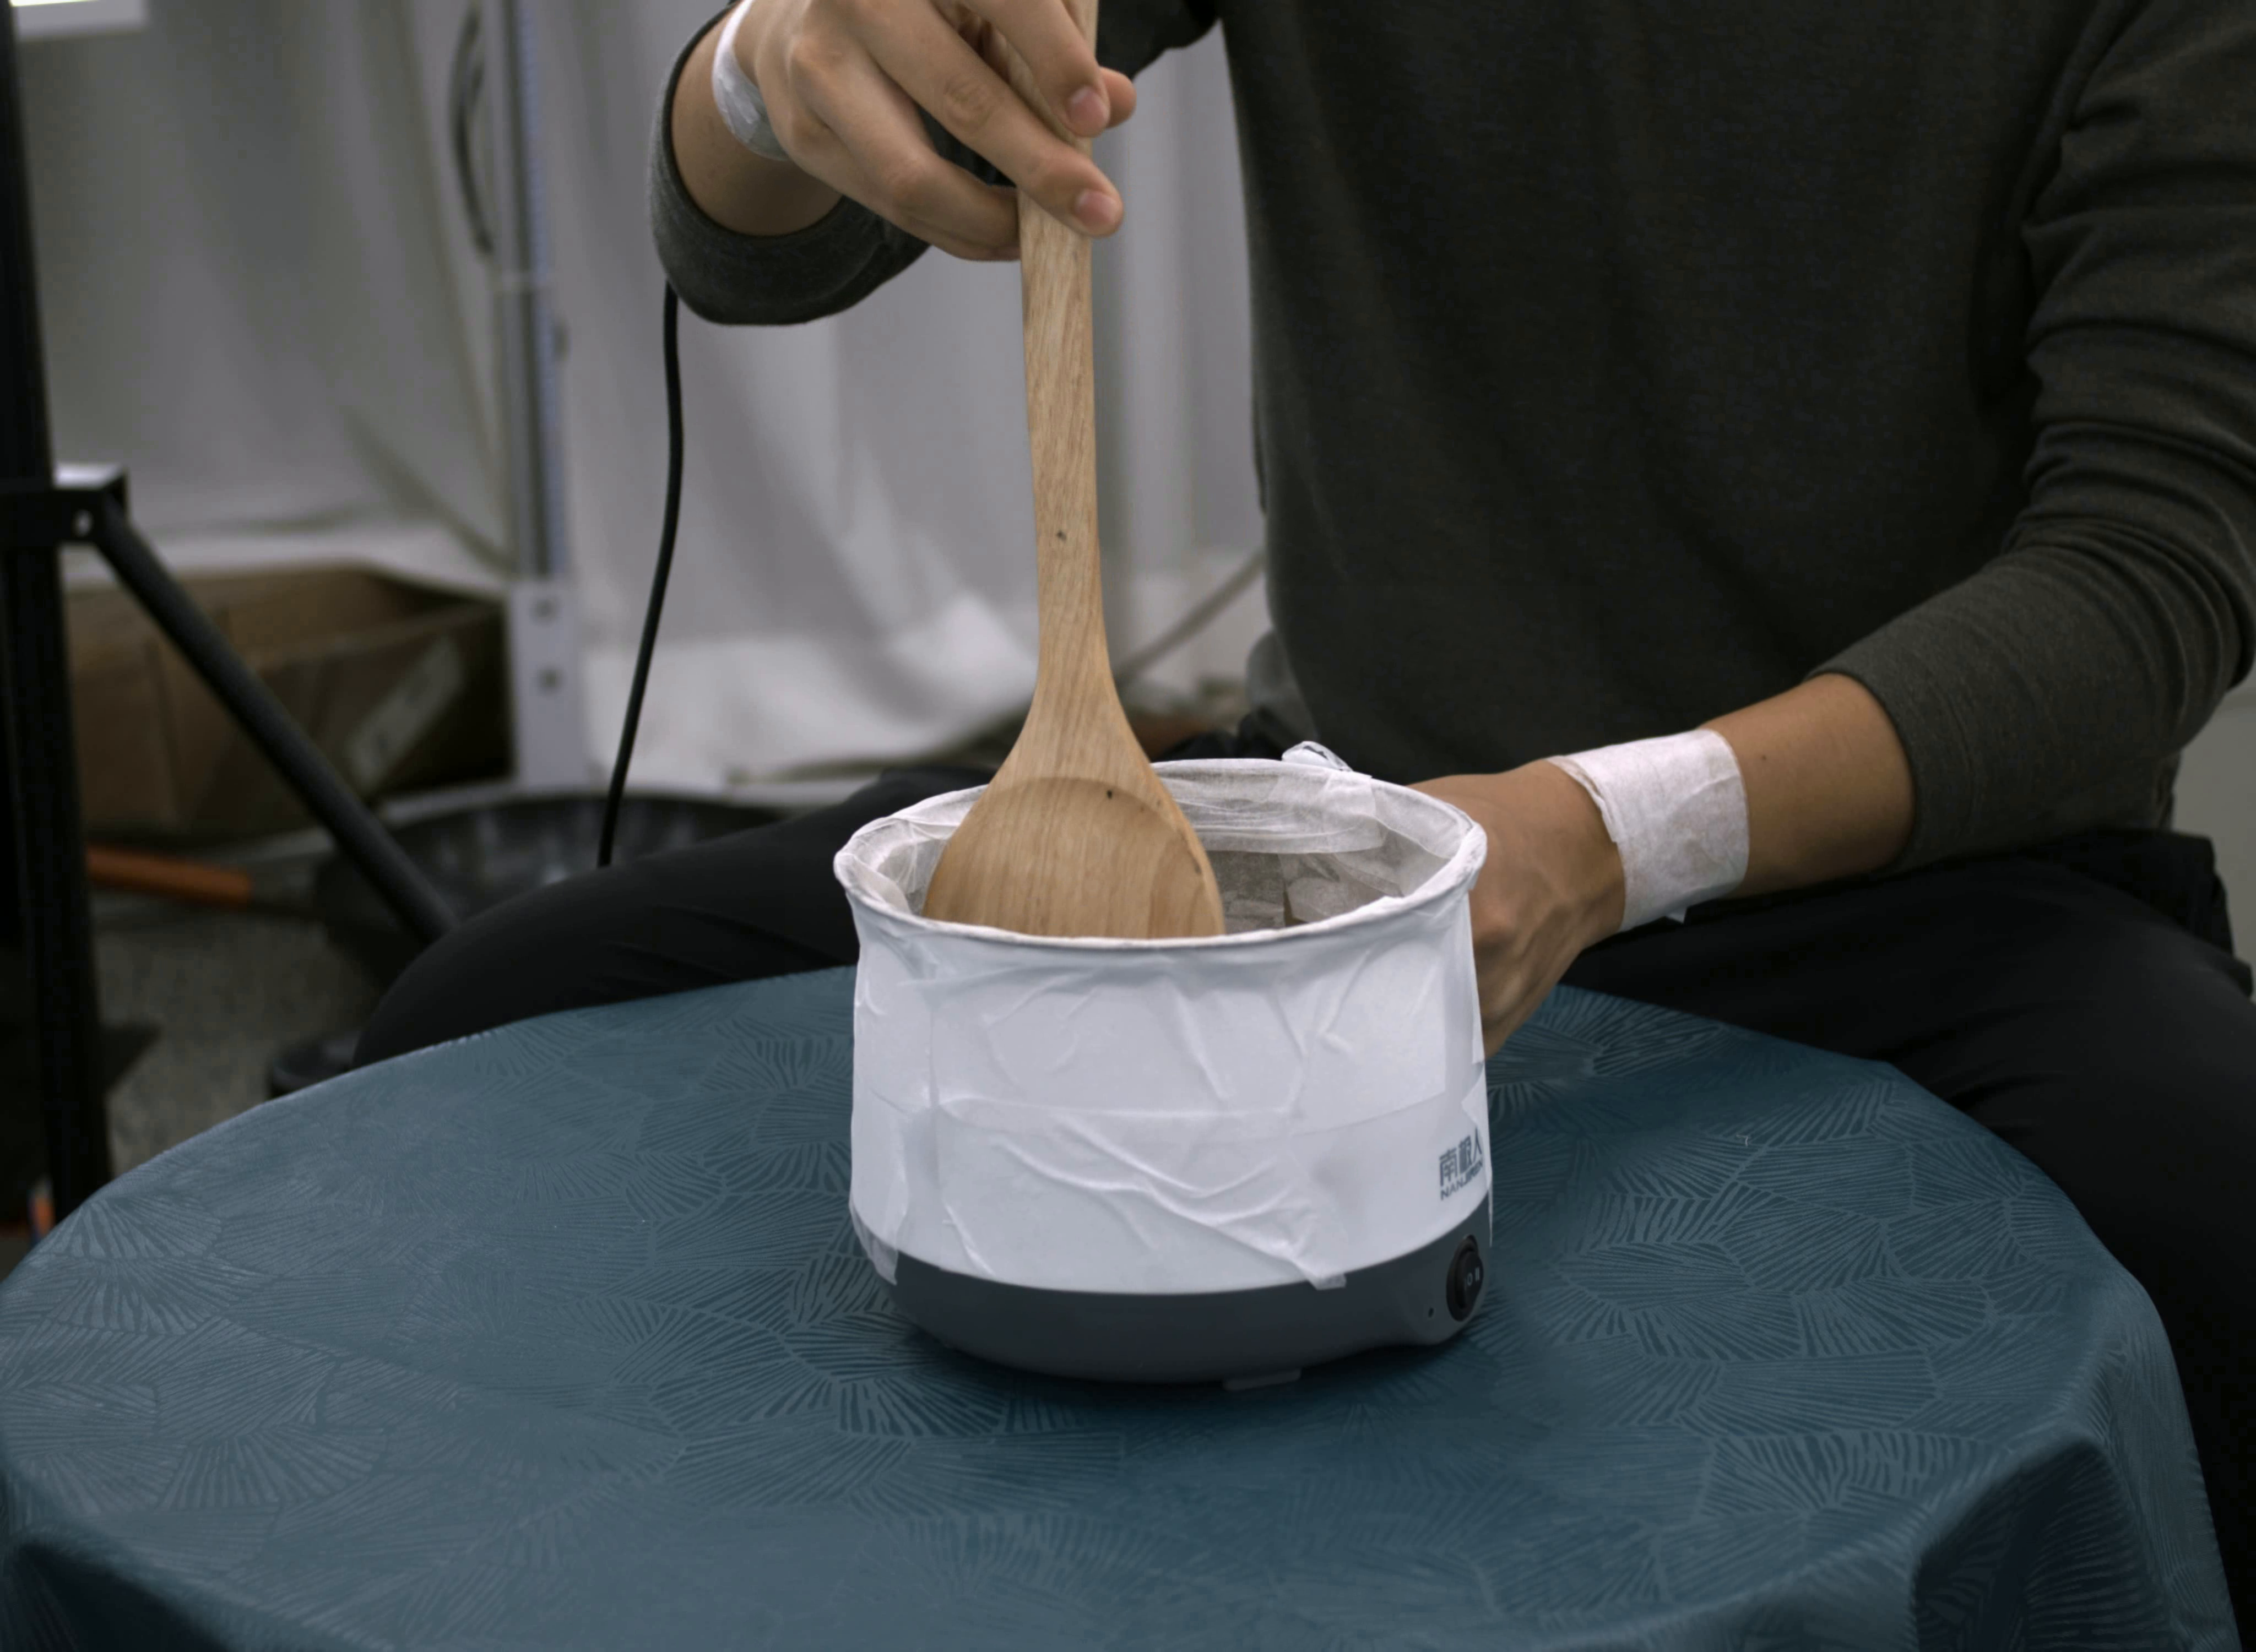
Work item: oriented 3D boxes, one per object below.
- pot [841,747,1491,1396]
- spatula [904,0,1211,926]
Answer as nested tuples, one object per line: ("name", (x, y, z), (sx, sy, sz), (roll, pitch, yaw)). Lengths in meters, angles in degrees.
("pot", (0.023, 0.061, 1.479), (0.181, 0.136, 0.230), (5, 16, 25))
("spatula", (-0.022, -0.113, 1.435), (0.097, 0.391, 0.018), (3, 10, 25))
